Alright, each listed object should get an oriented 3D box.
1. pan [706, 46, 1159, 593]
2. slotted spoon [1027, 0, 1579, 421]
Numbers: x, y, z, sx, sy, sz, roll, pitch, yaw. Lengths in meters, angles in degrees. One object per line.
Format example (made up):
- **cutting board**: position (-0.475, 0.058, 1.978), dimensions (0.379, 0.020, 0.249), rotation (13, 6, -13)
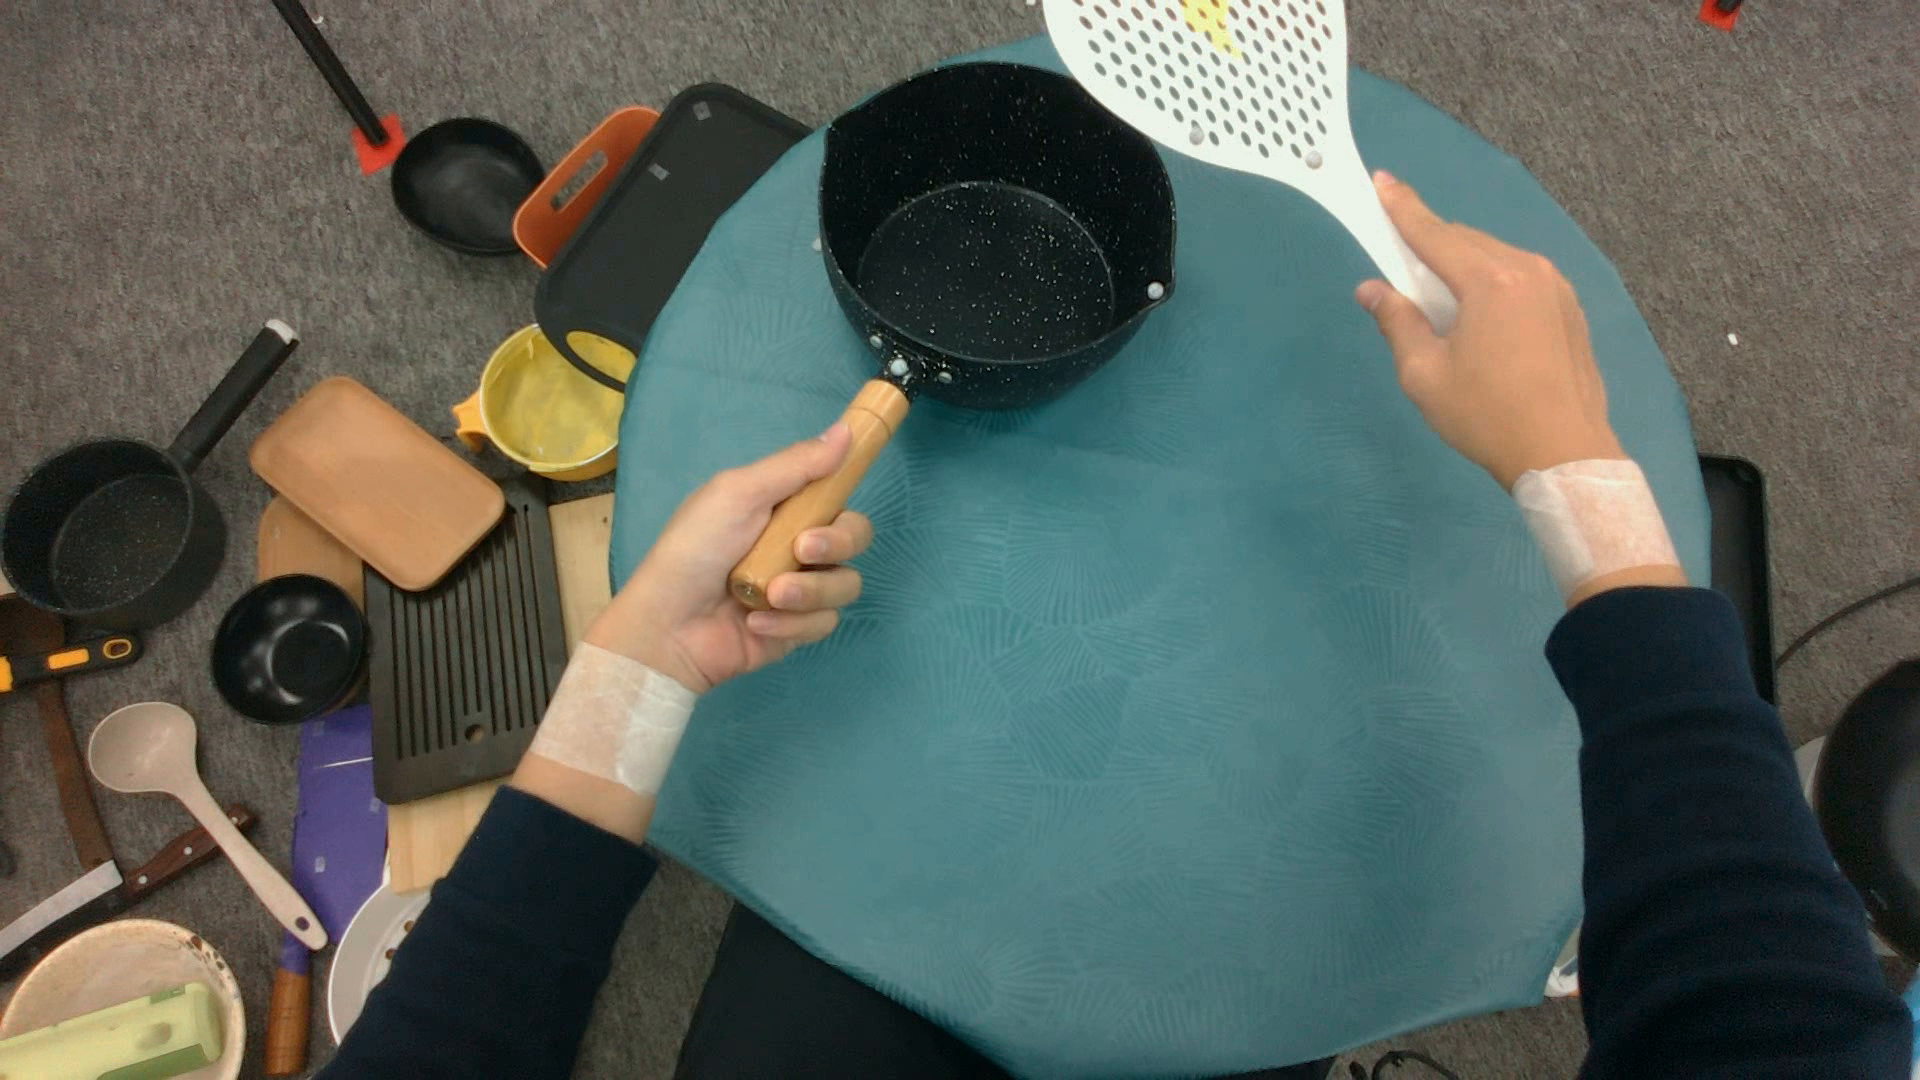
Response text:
- **pan**: position (-0.026, -0.102, 0.702), dimensions (0.207, 0.108, 0.344), rotation (26, 67, 5)
- **slotted spoon**: position (0.168, -0.189, 0.653), dimensions (0.136, 0.050, 0.348), rotation (-40, 80, 24)
